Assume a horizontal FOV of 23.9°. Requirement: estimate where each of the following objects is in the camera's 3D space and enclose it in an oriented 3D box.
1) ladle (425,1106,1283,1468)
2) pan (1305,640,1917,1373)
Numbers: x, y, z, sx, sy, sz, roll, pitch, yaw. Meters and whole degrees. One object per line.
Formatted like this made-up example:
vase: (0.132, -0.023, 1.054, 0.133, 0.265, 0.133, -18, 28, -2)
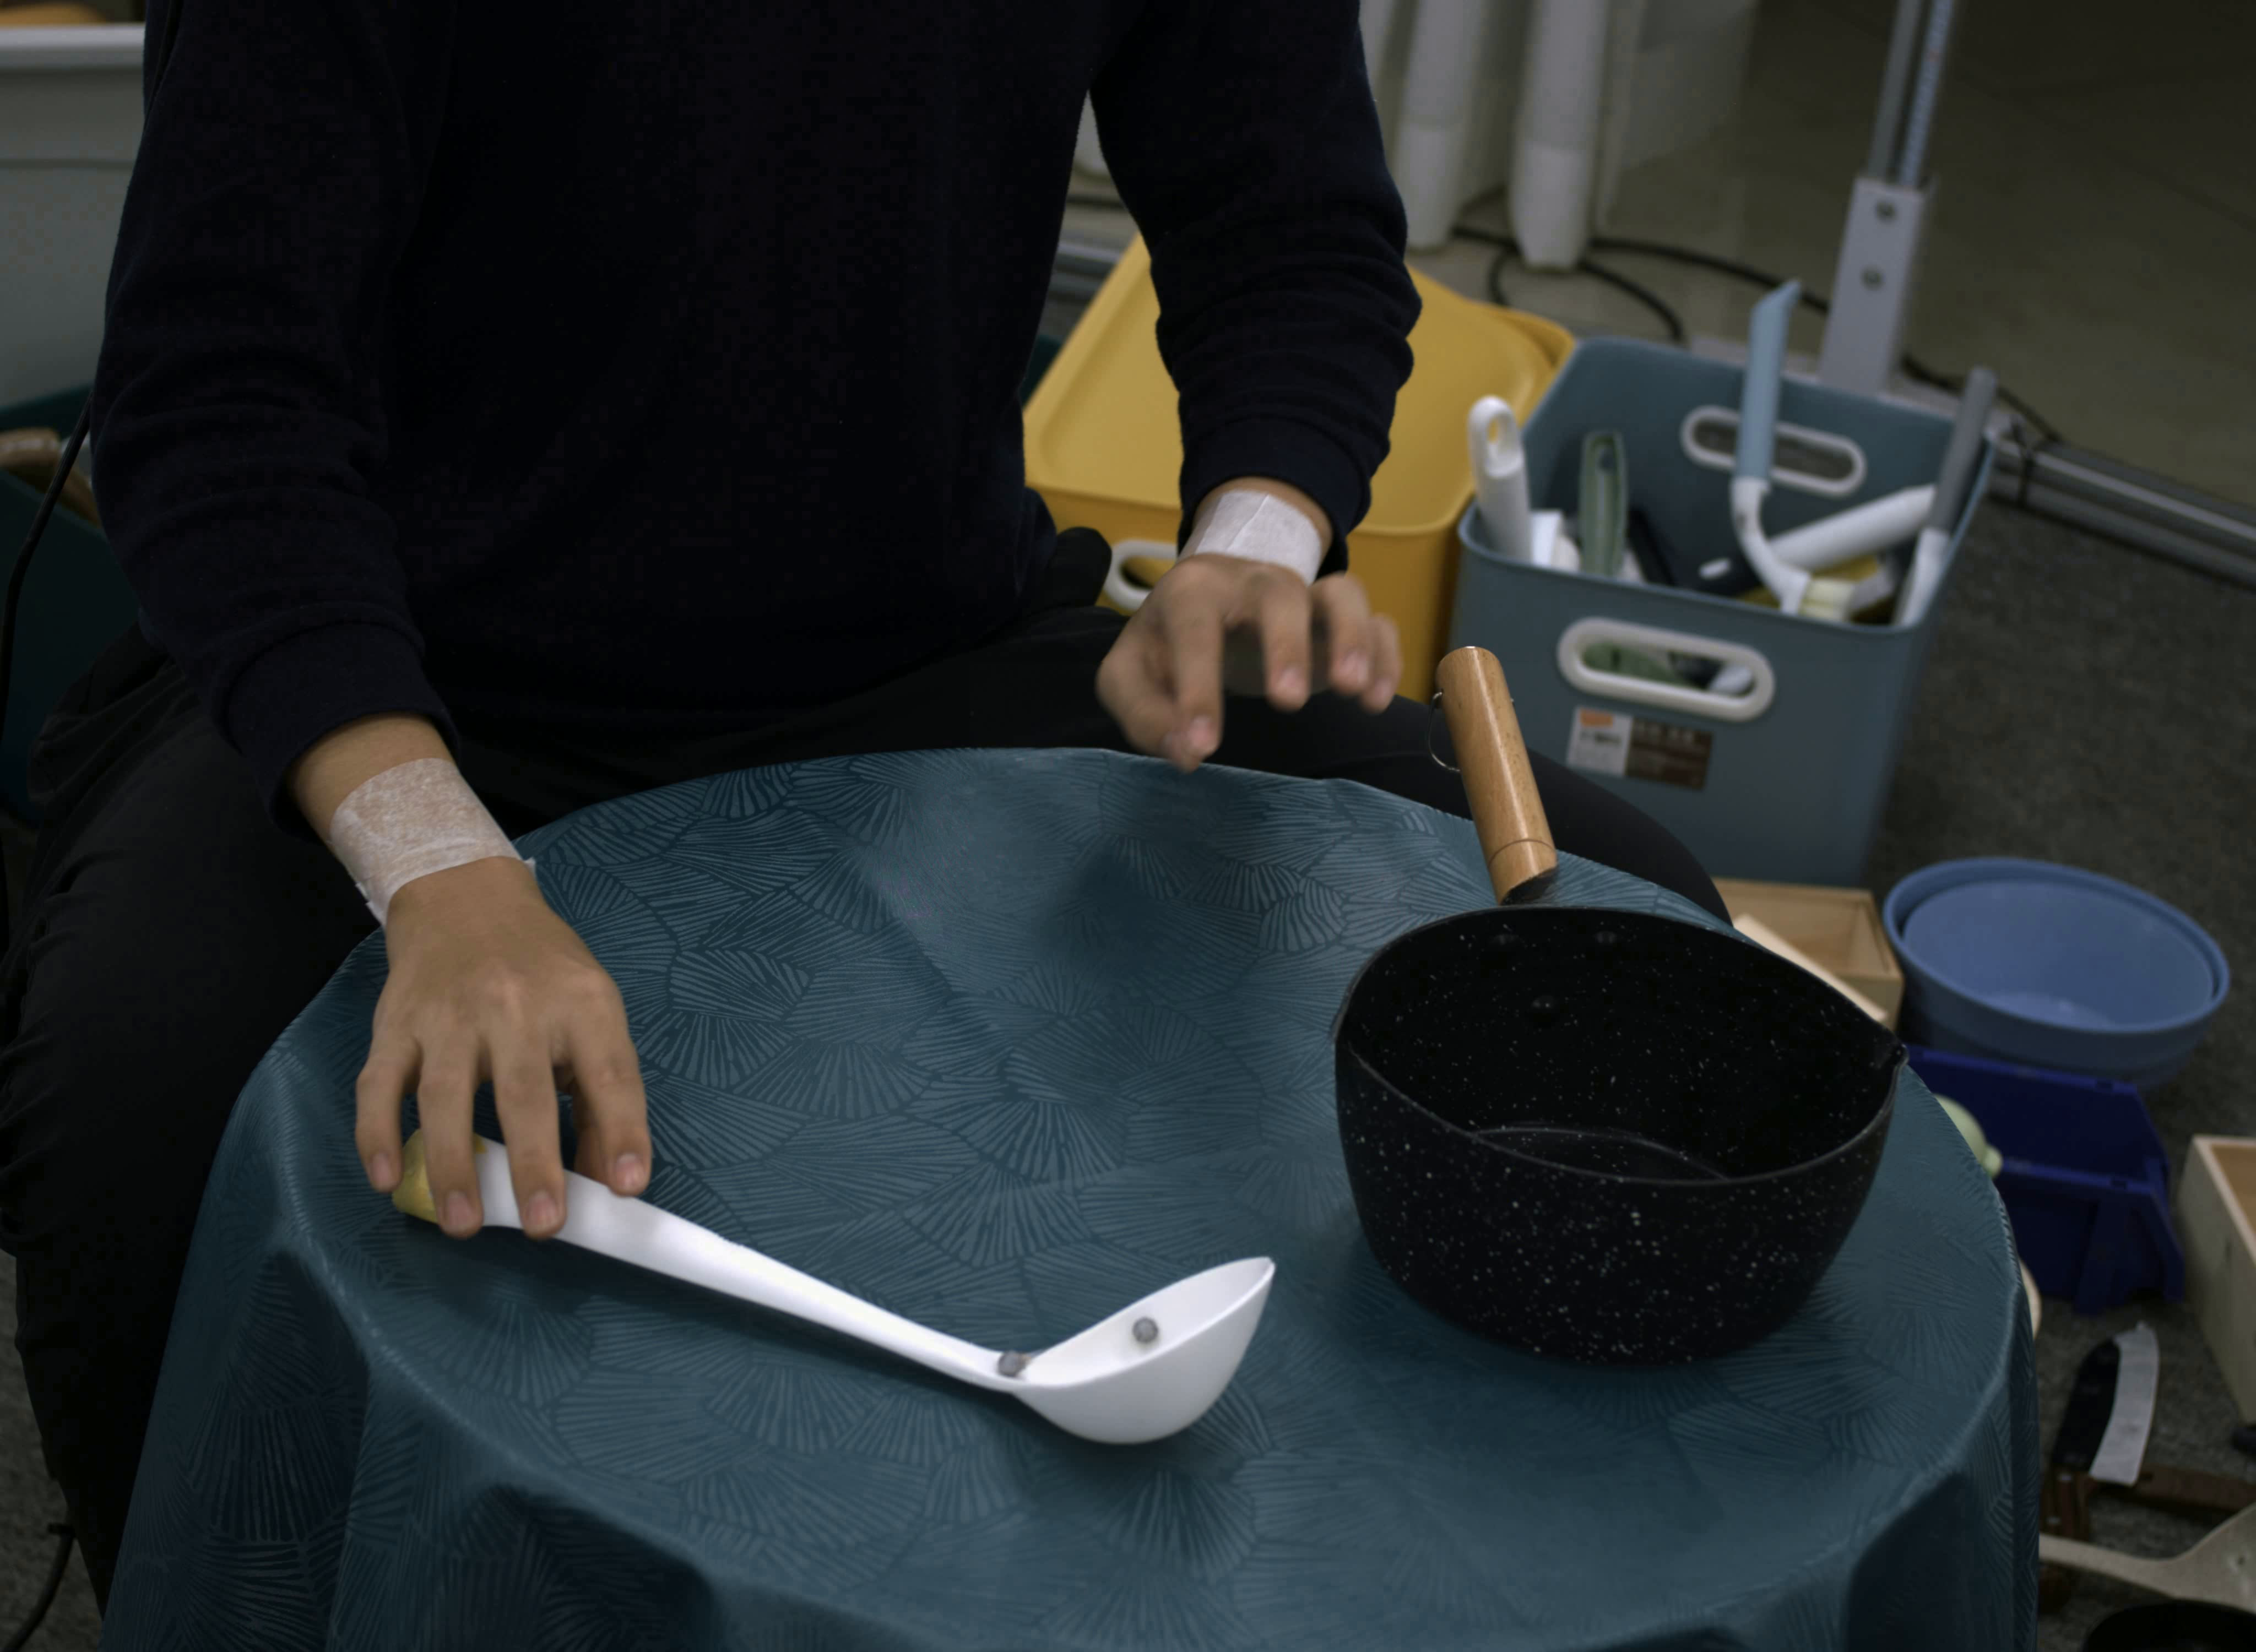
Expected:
ladle: (-0.092, 0.135, 1.693, 0.294, 0.070, 0.090, 19, 26, 21)
pan: (0.146, 0.059, 1.843, 0.206, 0.108, 0.345, 0, 29, -11)
